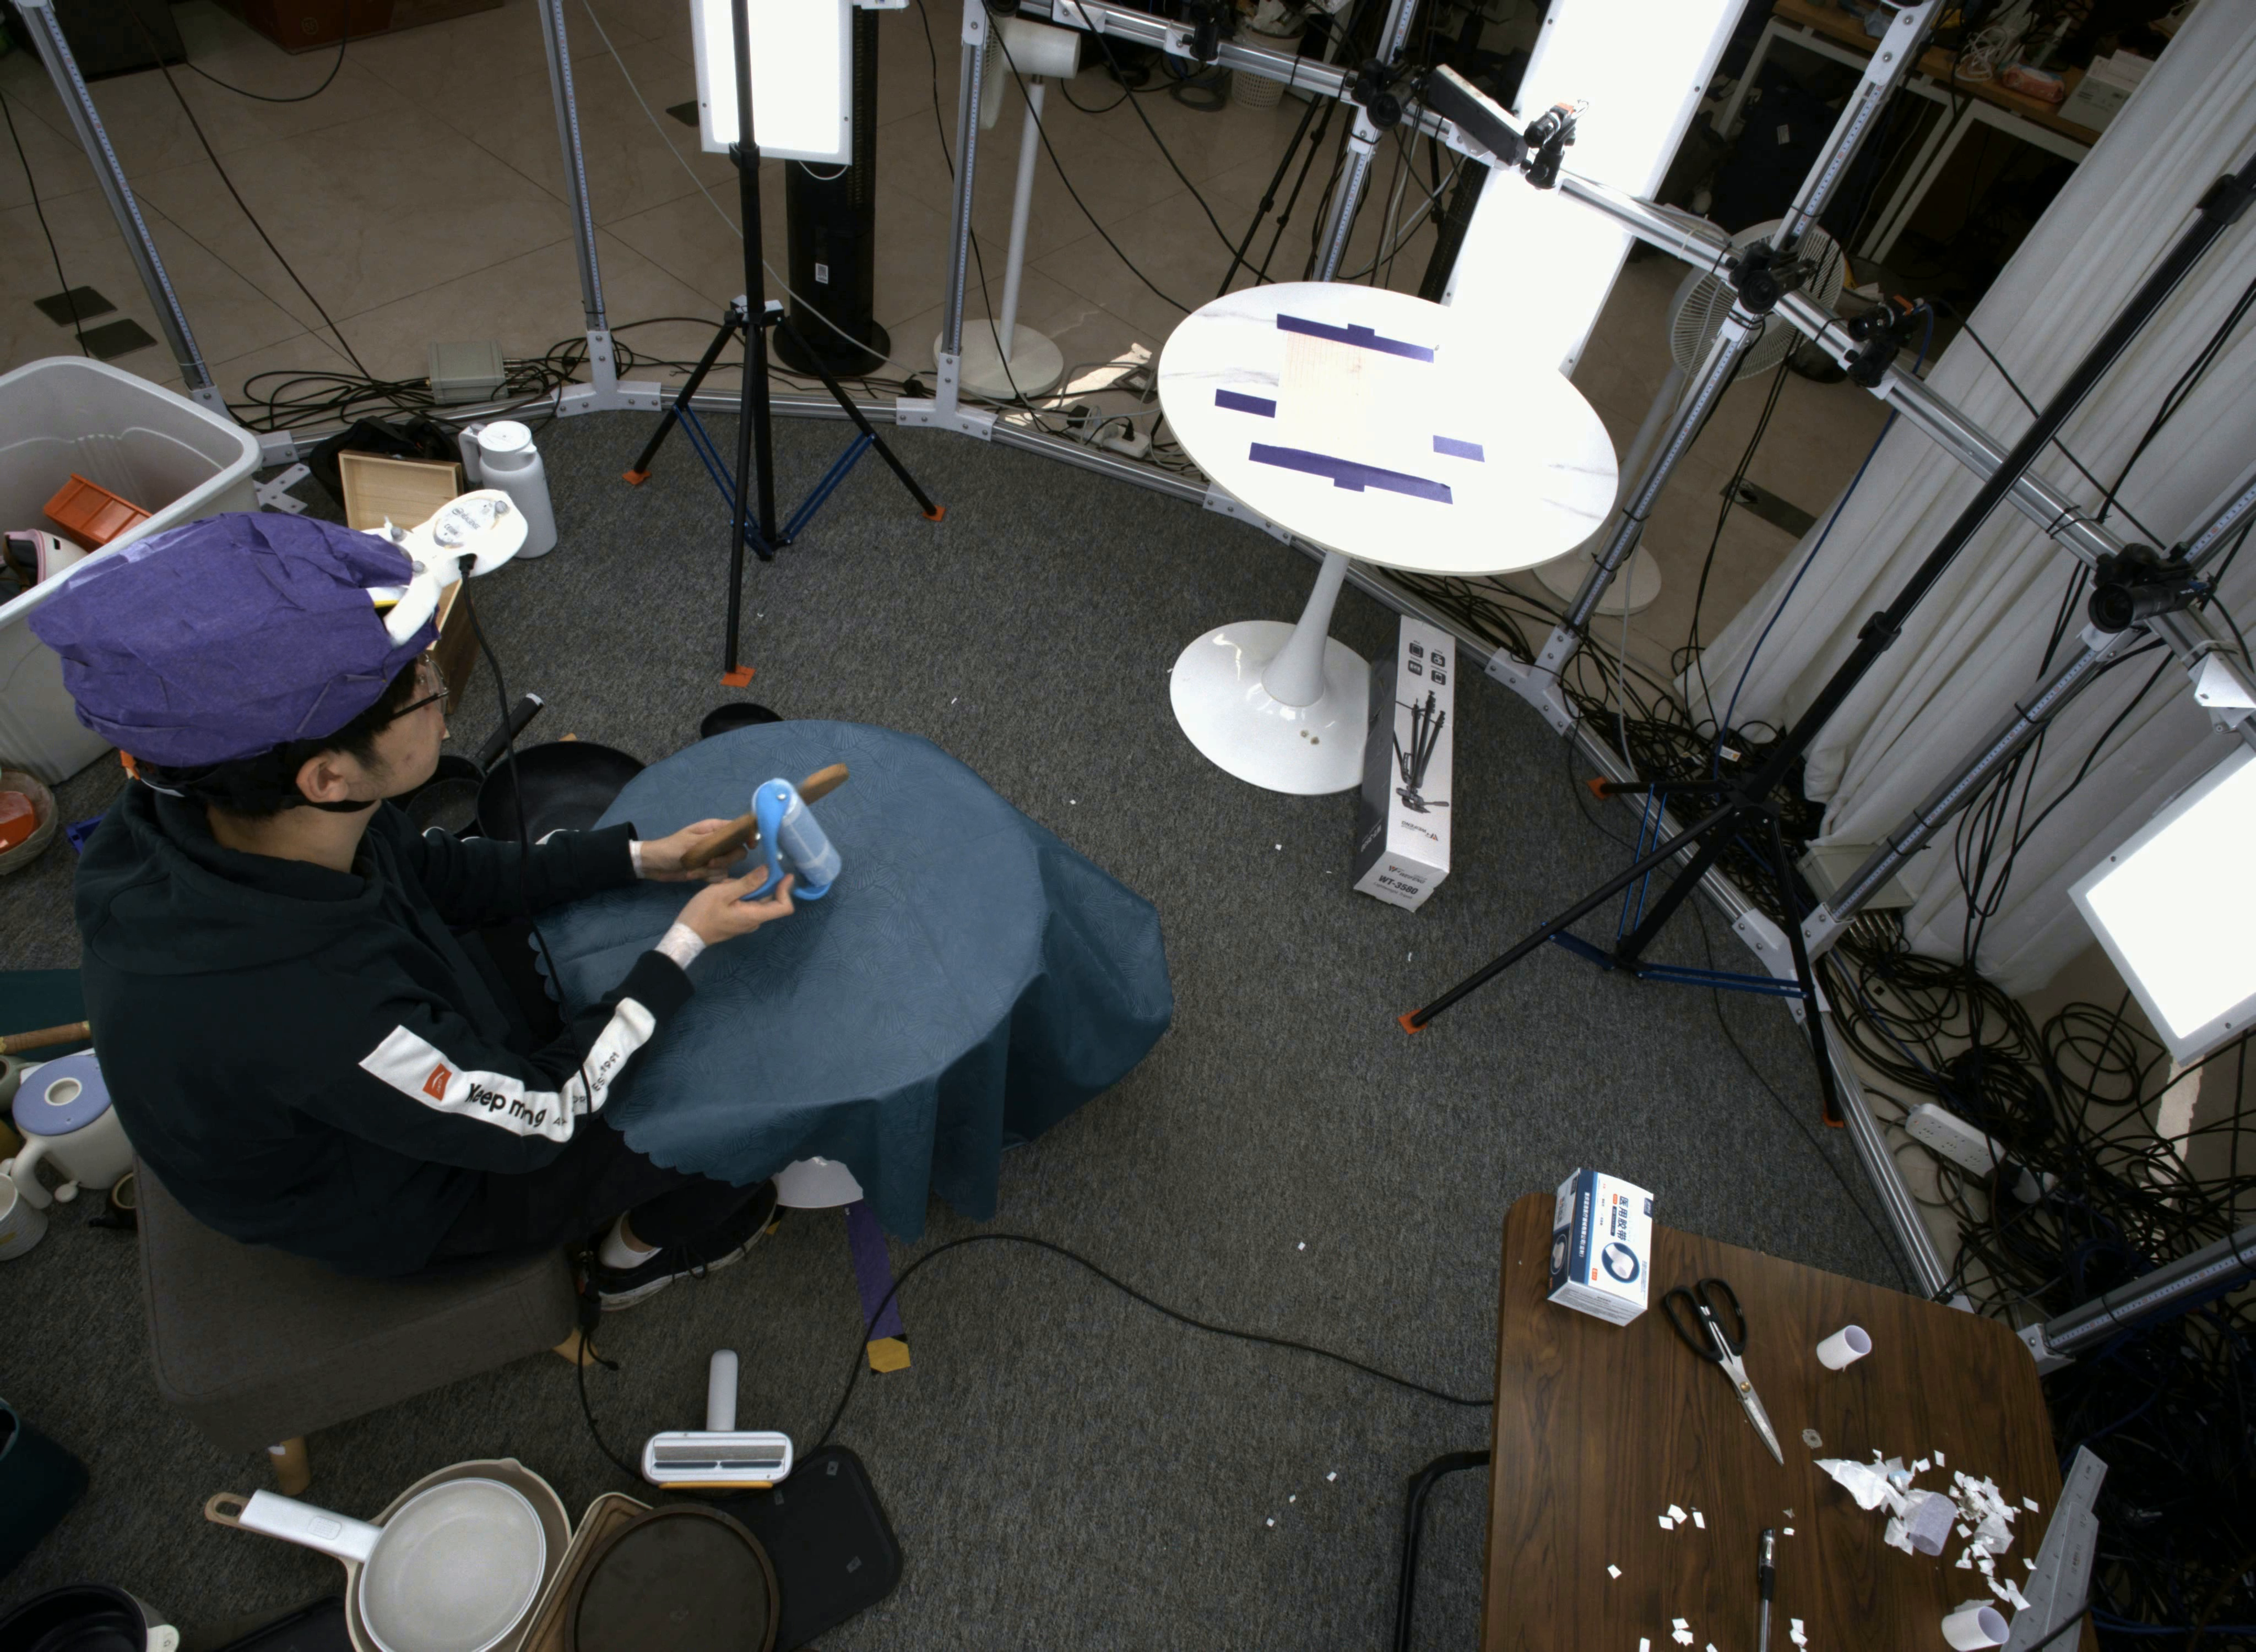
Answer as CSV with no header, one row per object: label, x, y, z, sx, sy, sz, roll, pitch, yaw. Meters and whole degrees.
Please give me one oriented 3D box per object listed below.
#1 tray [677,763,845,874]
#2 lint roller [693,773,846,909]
tray,-0.446,-0.010,1.581,0.231,0.101,0.020,-34,87,-16
lint roller,-0.434,0.047,1.551,0.066,0.234,0.180,40,77,19
